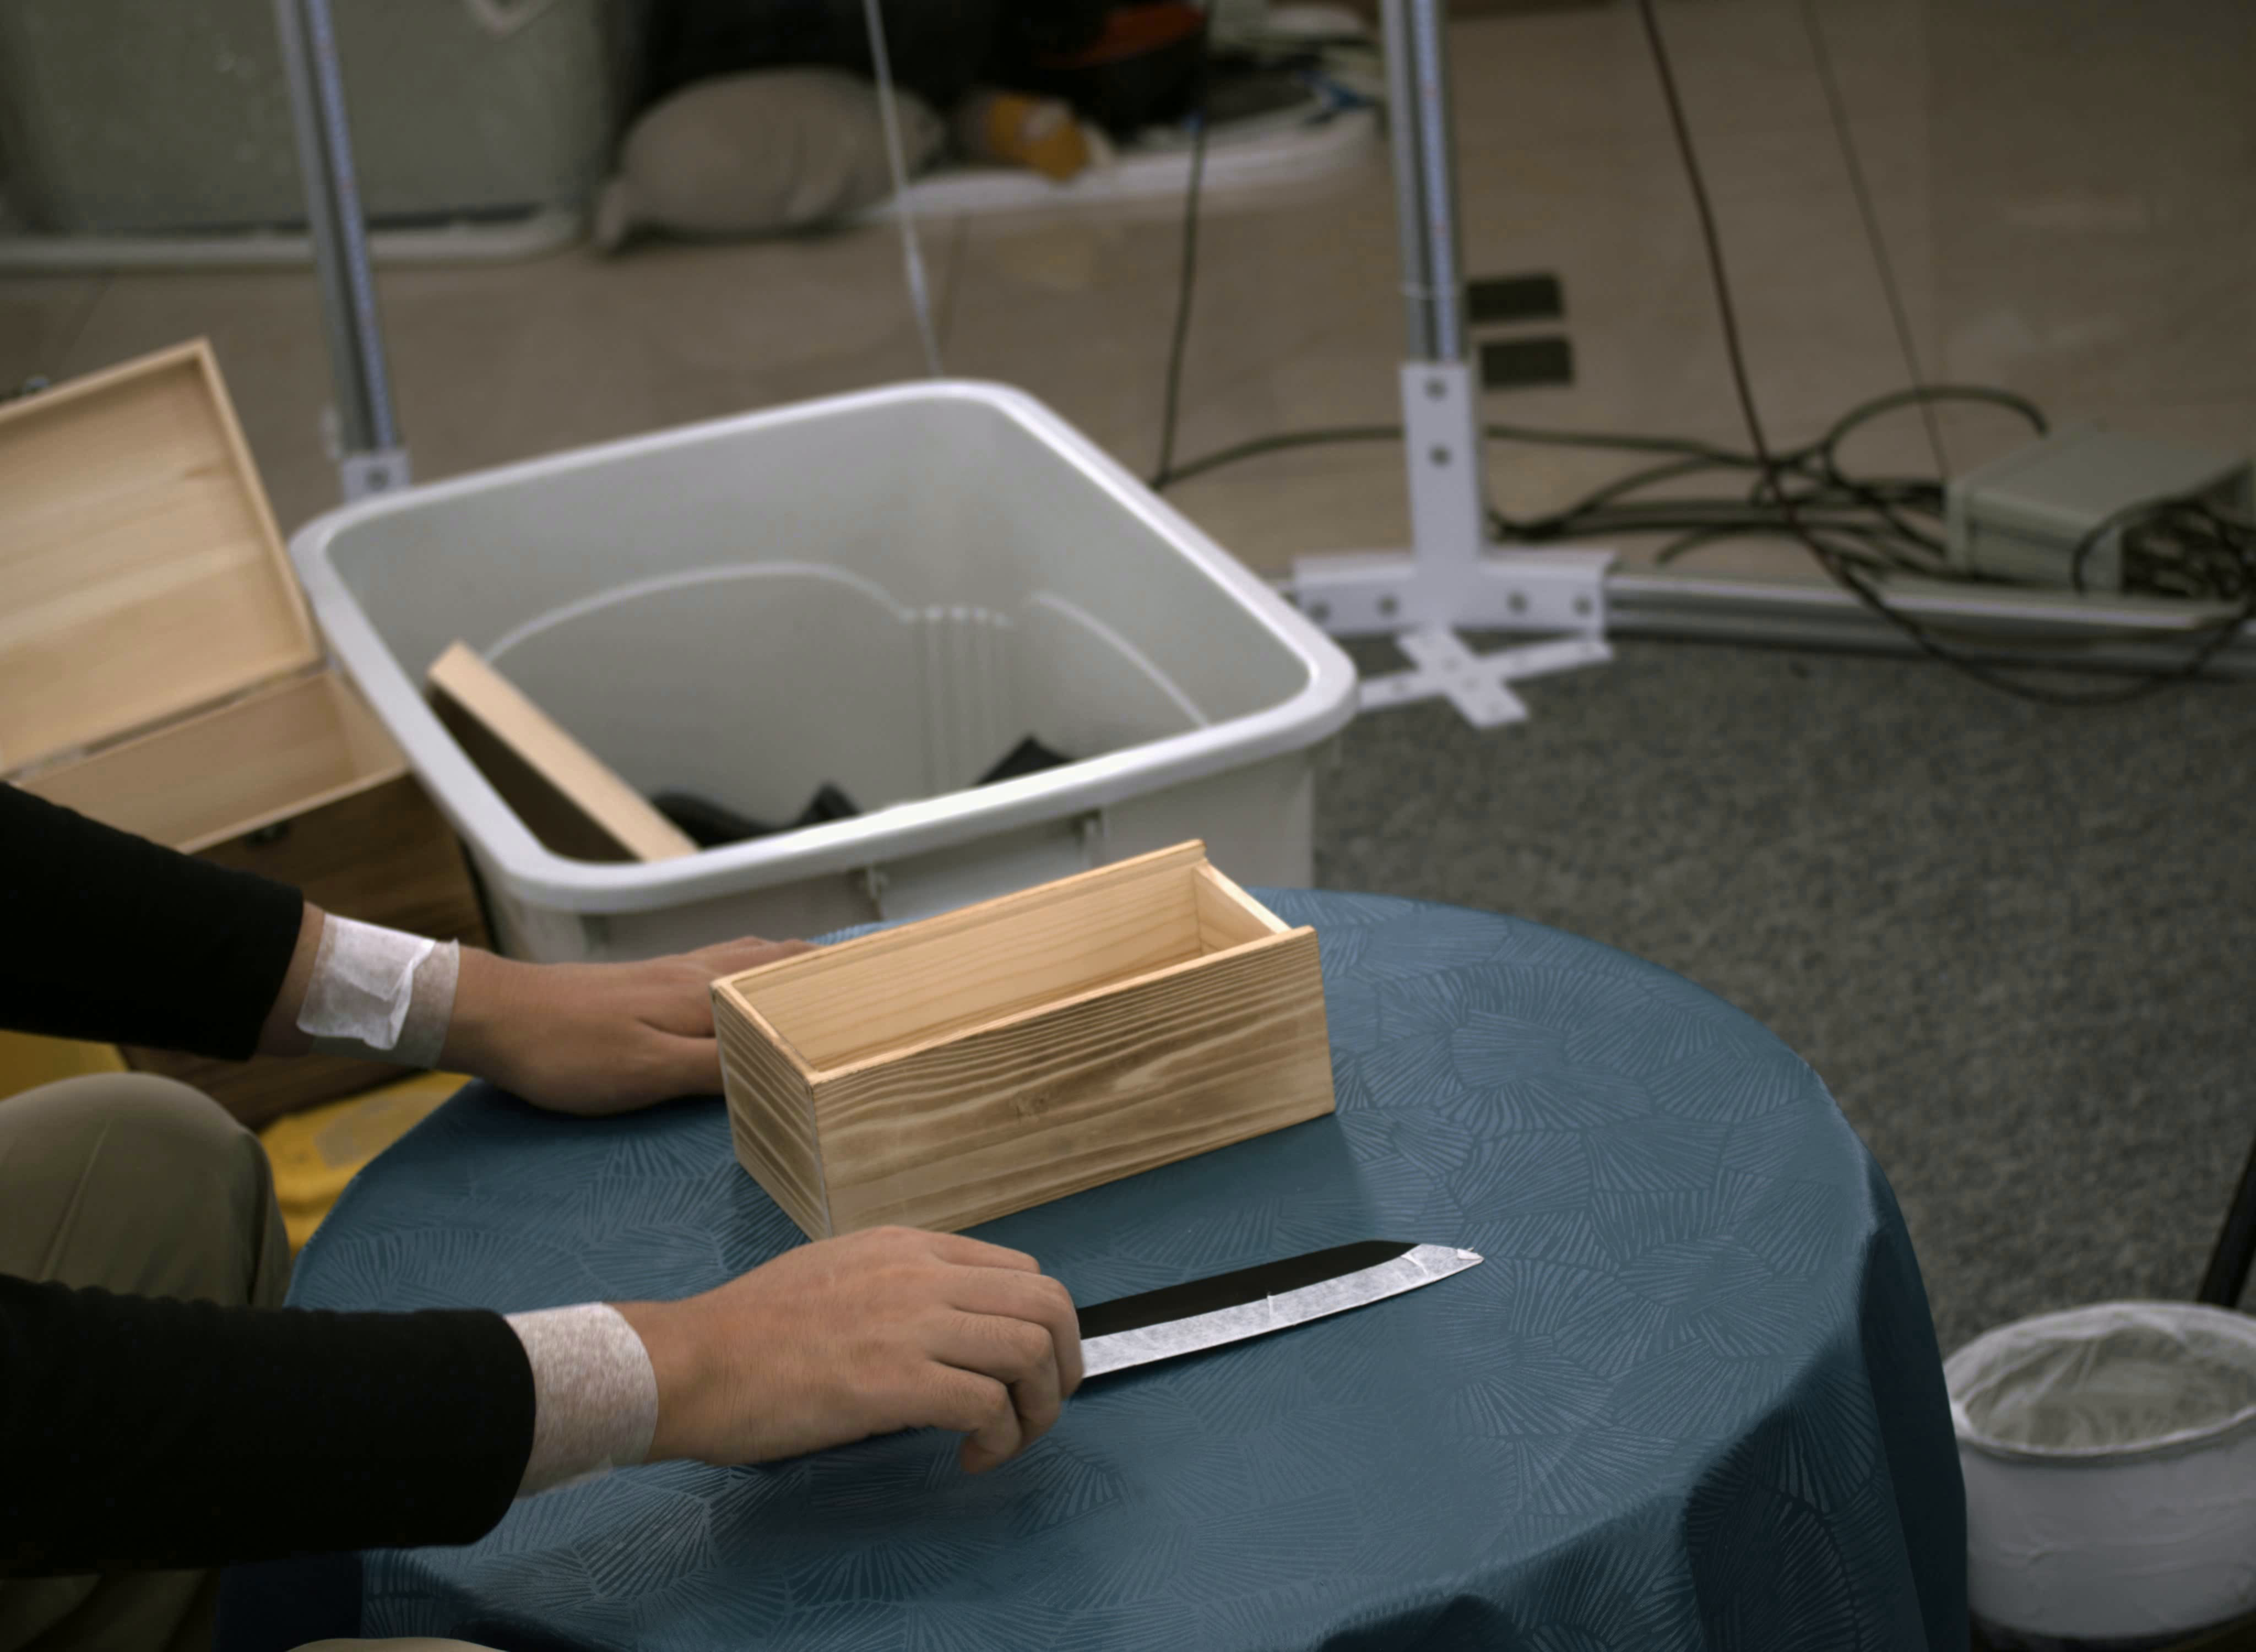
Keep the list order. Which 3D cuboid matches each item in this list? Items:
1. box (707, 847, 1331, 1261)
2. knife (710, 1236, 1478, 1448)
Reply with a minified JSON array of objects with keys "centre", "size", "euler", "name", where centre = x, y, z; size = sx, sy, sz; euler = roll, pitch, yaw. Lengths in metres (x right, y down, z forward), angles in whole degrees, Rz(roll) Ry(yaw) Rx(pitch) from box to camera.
[{"centre":[-0.041,0.085,2.178],"size":[0.210,0.081,0.106],"euler":[-16,26,-20],"name":"box"},{"centre":[-0.009,0.183,2.039],"size":[0.288,0.020,0.049],"euler":[-11,30,-15],"name":"knife"}]
